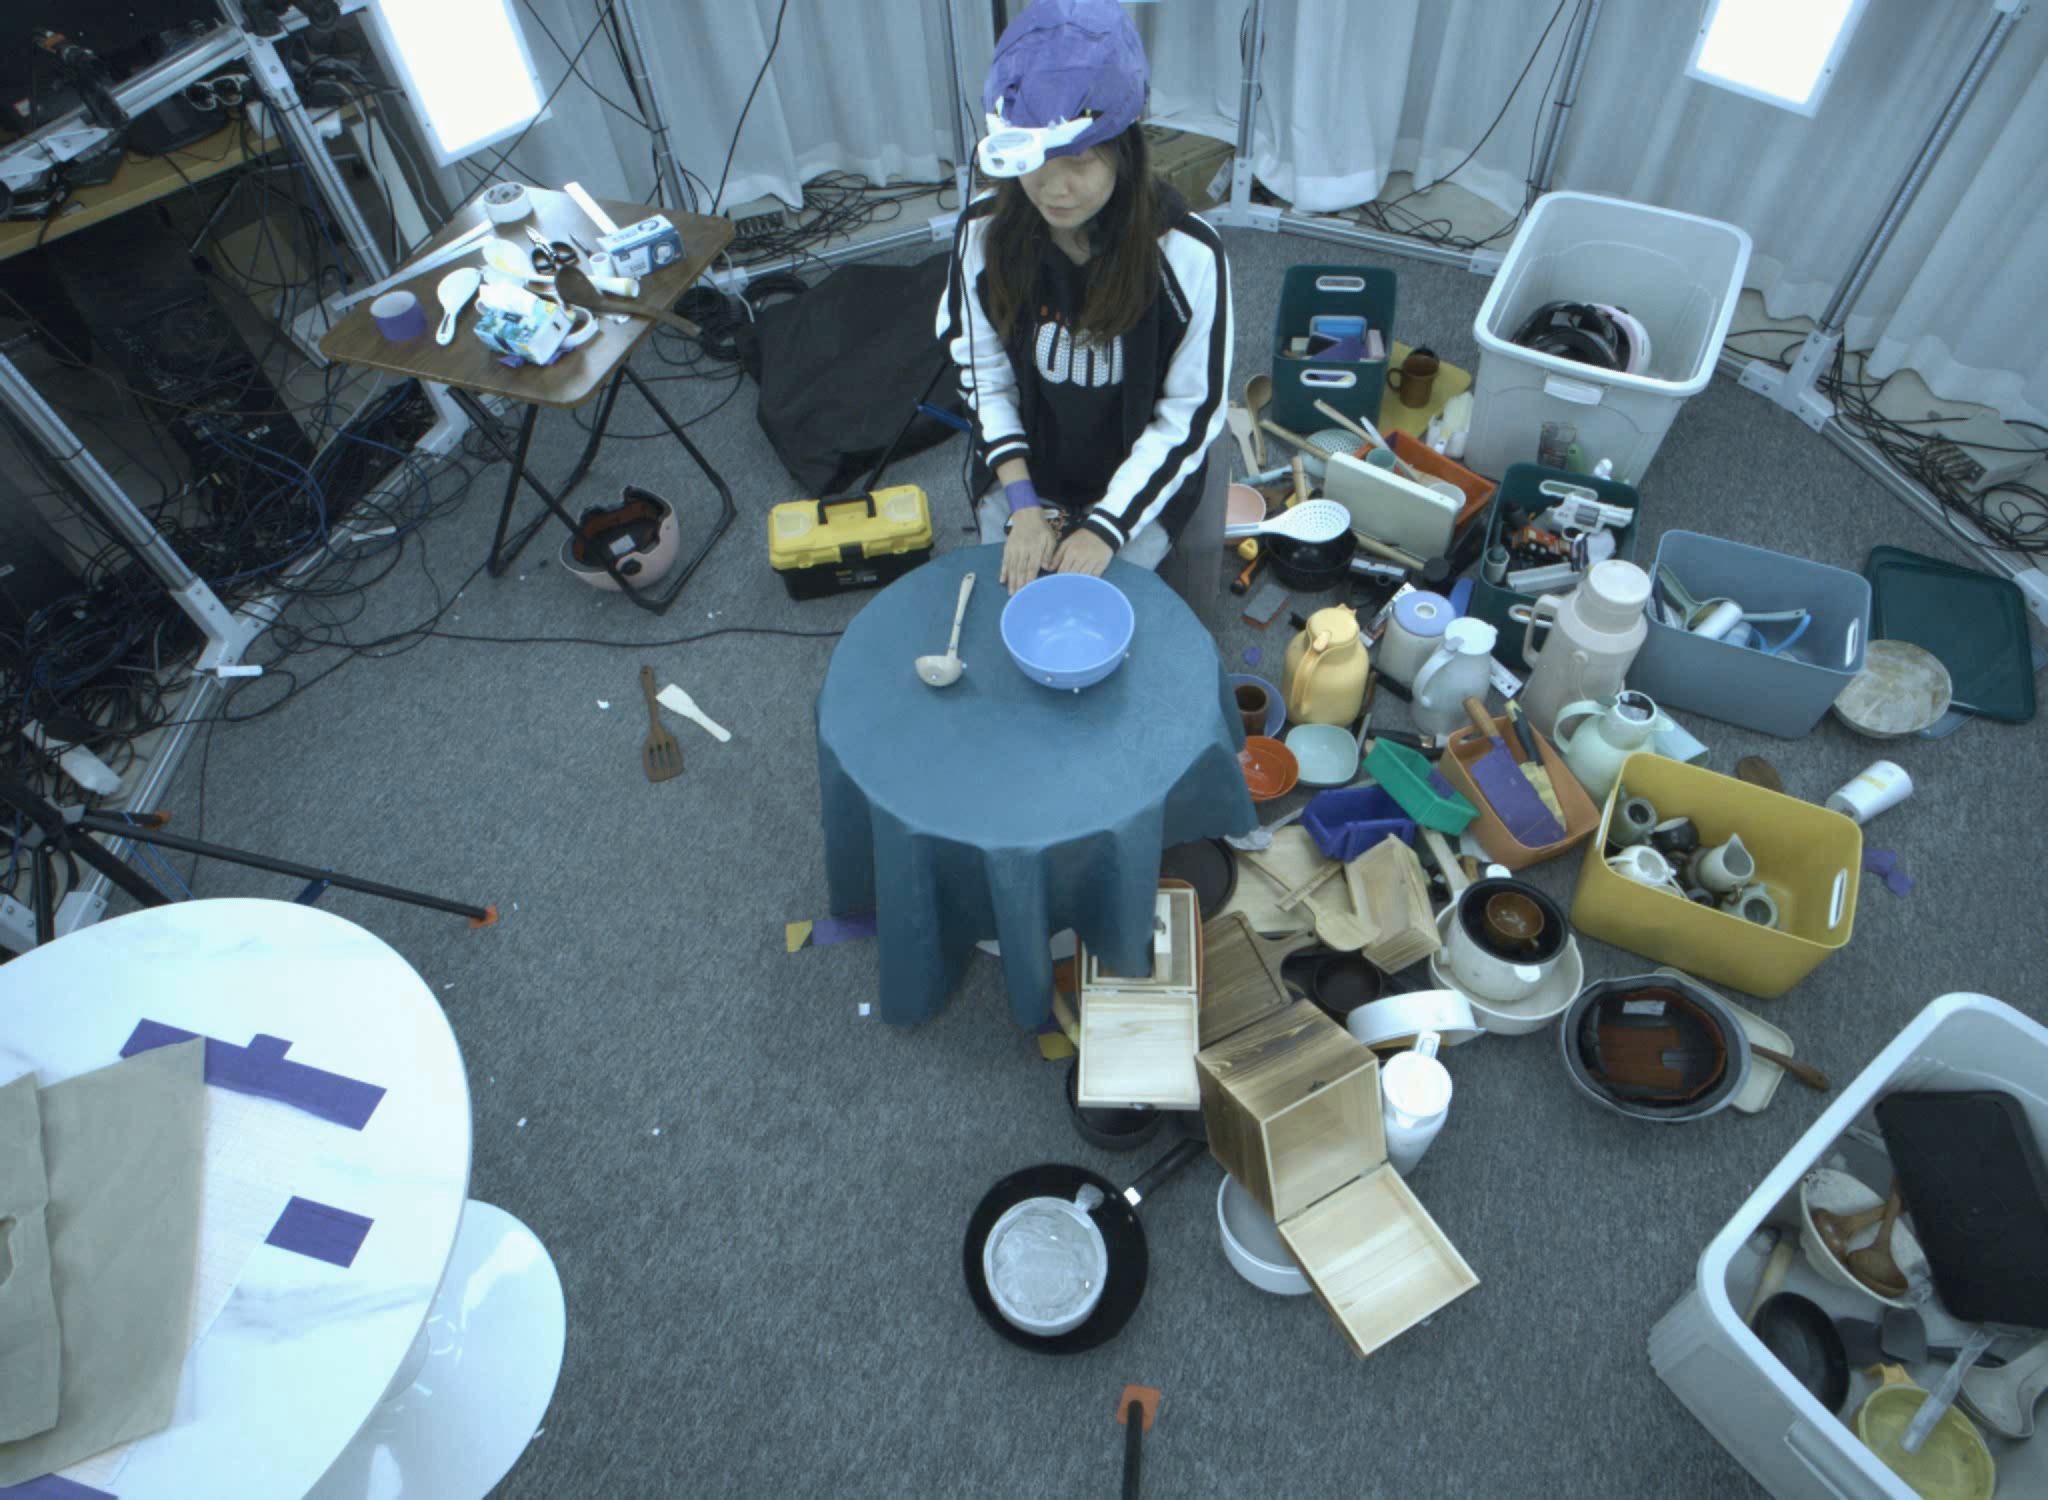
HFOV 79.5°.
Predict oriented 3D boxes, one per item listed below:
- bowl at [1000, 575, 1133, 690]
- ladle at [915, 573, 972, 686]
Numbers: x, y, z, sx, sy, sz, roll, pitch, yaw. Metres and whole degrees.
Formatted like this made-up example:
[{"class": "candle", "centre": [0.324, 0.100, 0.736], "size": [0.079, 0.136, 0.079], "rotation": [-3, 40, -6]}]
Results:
[{"class": "bowl", "centre": [0.066, -0.161, 1.845], "size": [0.196, 0.096, 0.194], "rotation": [-1, 54, 3]}, {"class": "ladle", "centre": [-0.116, -0.208, 1.894], "size": [0.071, 0.074, 0.252], "rotation": [-3, 53, 15]}]
